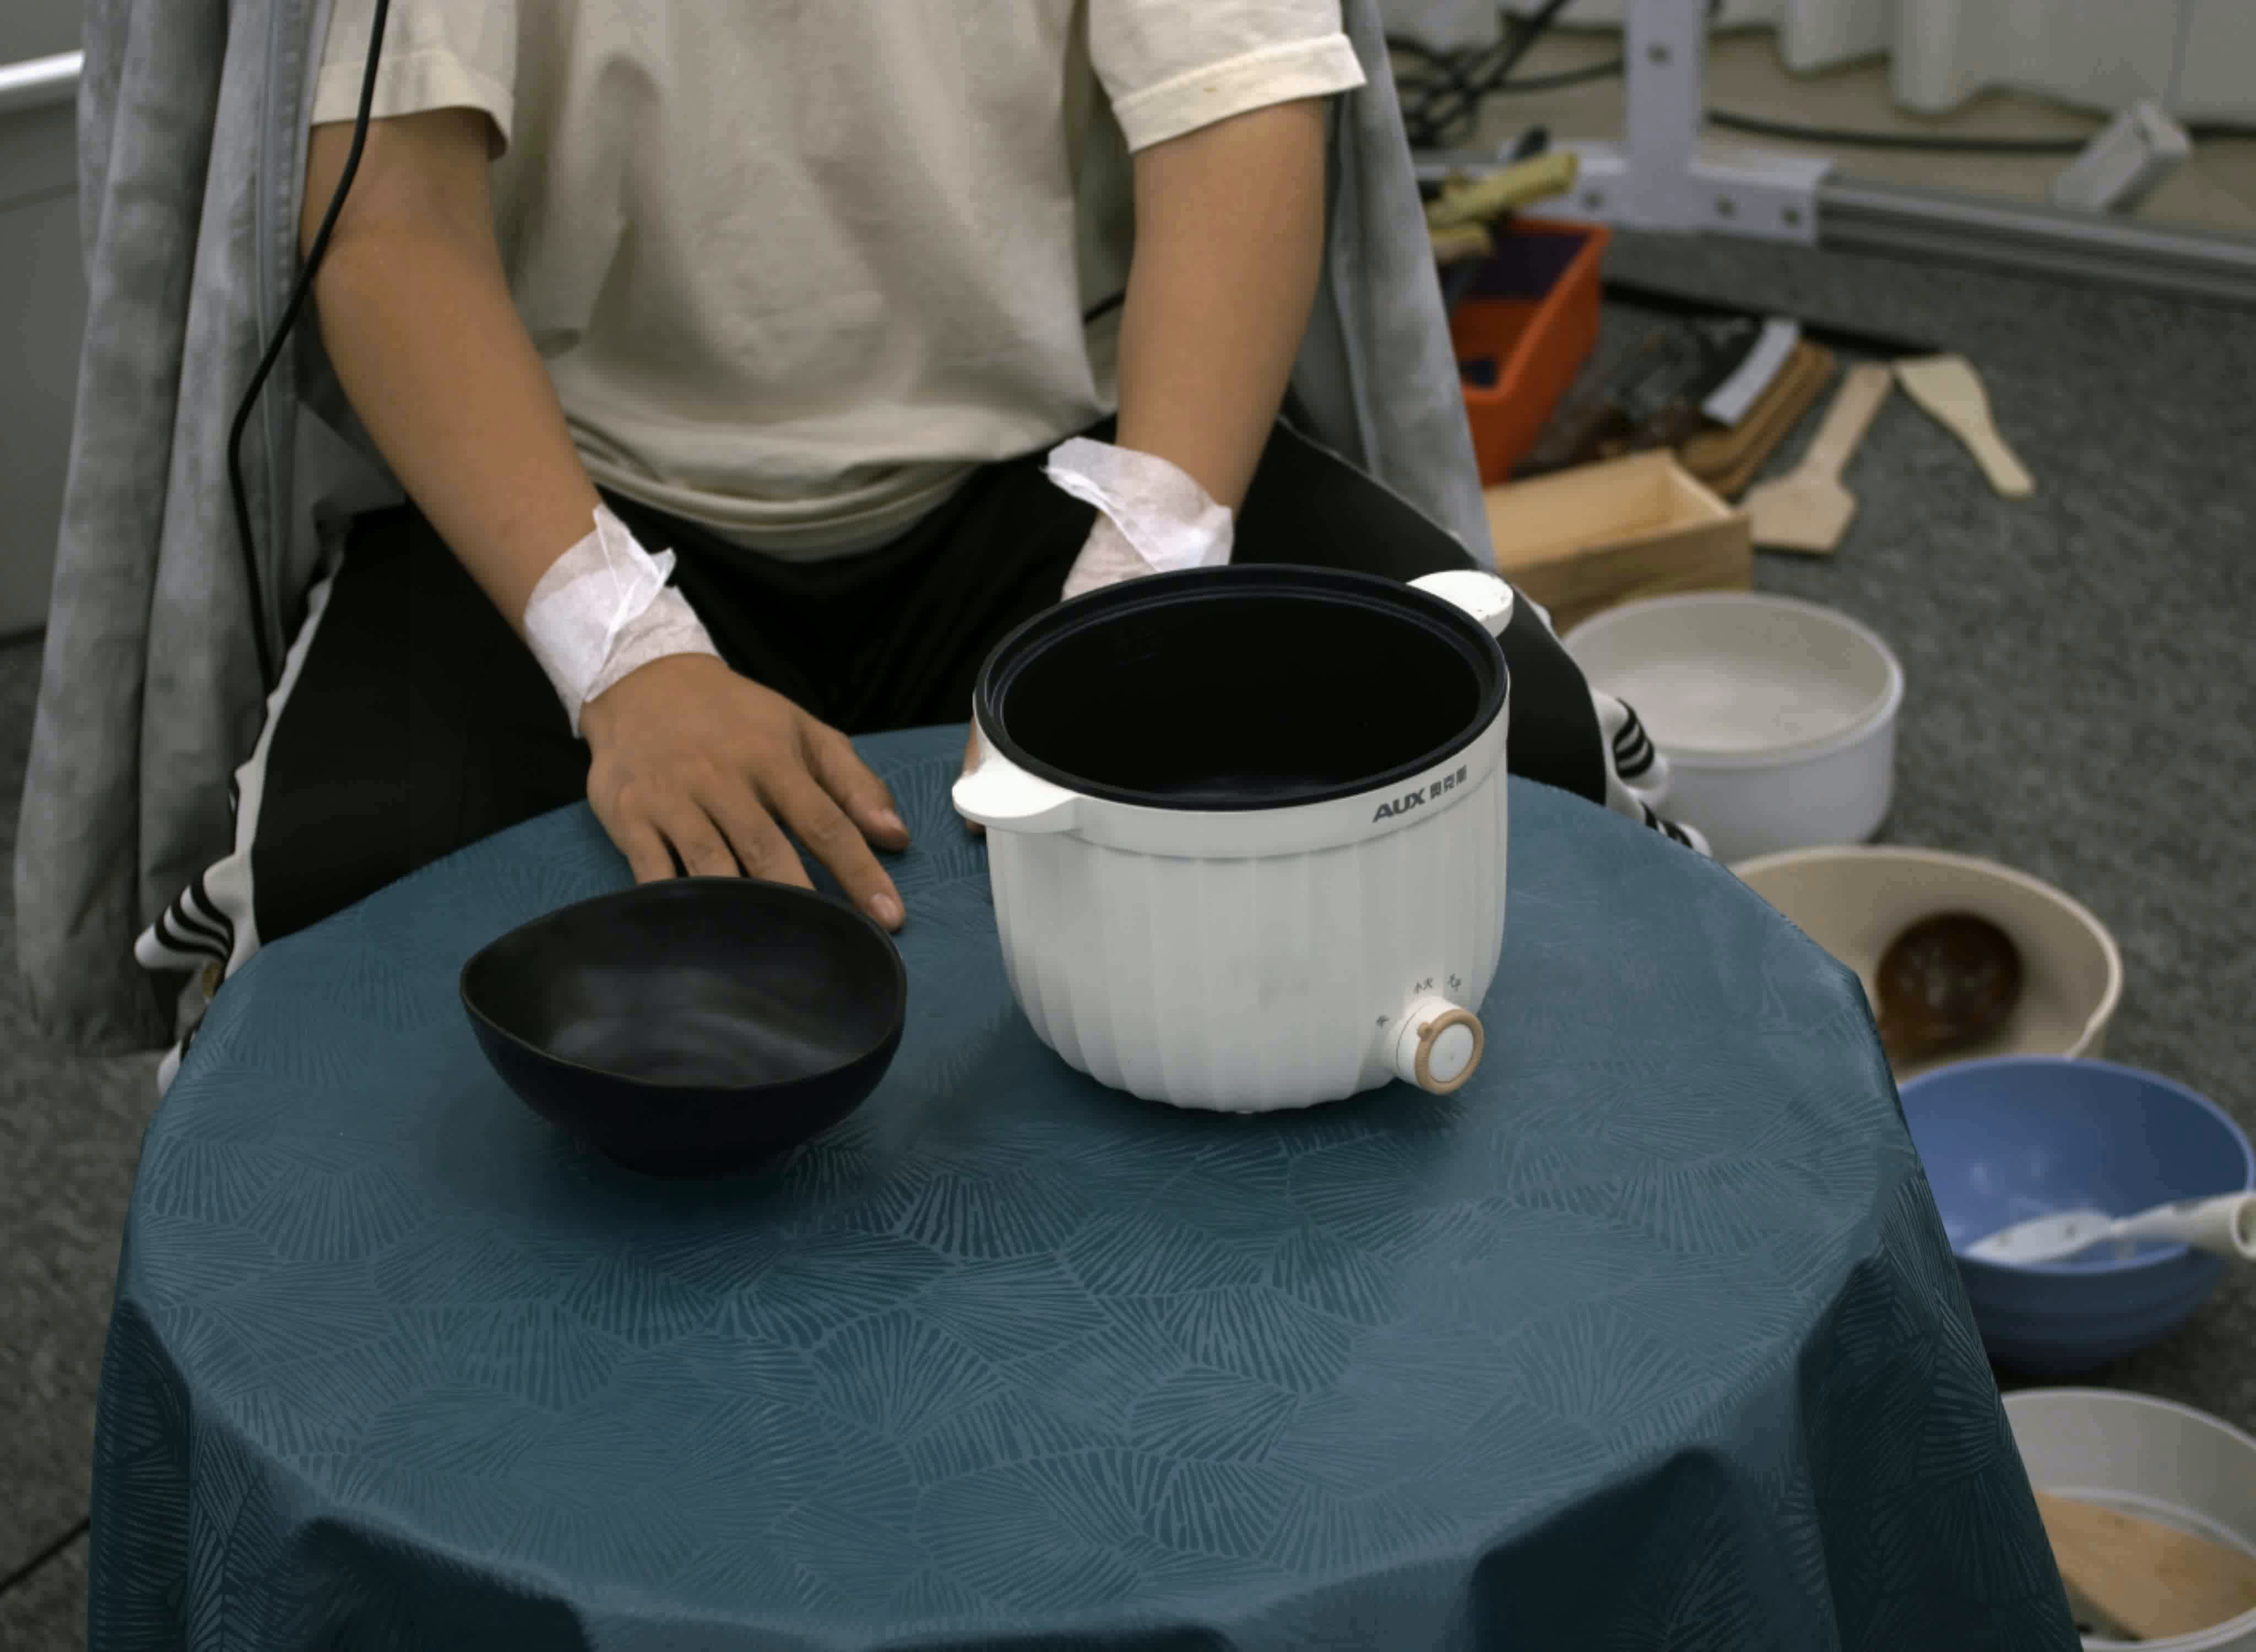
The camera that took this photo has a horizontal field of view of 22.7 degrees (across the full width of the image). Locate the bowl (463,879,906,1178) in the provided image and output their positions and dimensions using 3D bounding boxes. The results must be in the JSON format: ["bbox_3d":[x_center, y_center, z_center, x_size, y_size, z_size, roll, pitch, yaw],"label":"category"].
[{"bbox_3d":[-0.150,0.076,1.894,0.170,0.066,0.139,19,33,38],"label":"bowl"}]

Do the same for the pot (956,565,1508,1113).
[{"bbox_3d":[0.046,0.009,1.924,0.243,0.141,0.190,-25,30,-35],"label":"pot"}]
